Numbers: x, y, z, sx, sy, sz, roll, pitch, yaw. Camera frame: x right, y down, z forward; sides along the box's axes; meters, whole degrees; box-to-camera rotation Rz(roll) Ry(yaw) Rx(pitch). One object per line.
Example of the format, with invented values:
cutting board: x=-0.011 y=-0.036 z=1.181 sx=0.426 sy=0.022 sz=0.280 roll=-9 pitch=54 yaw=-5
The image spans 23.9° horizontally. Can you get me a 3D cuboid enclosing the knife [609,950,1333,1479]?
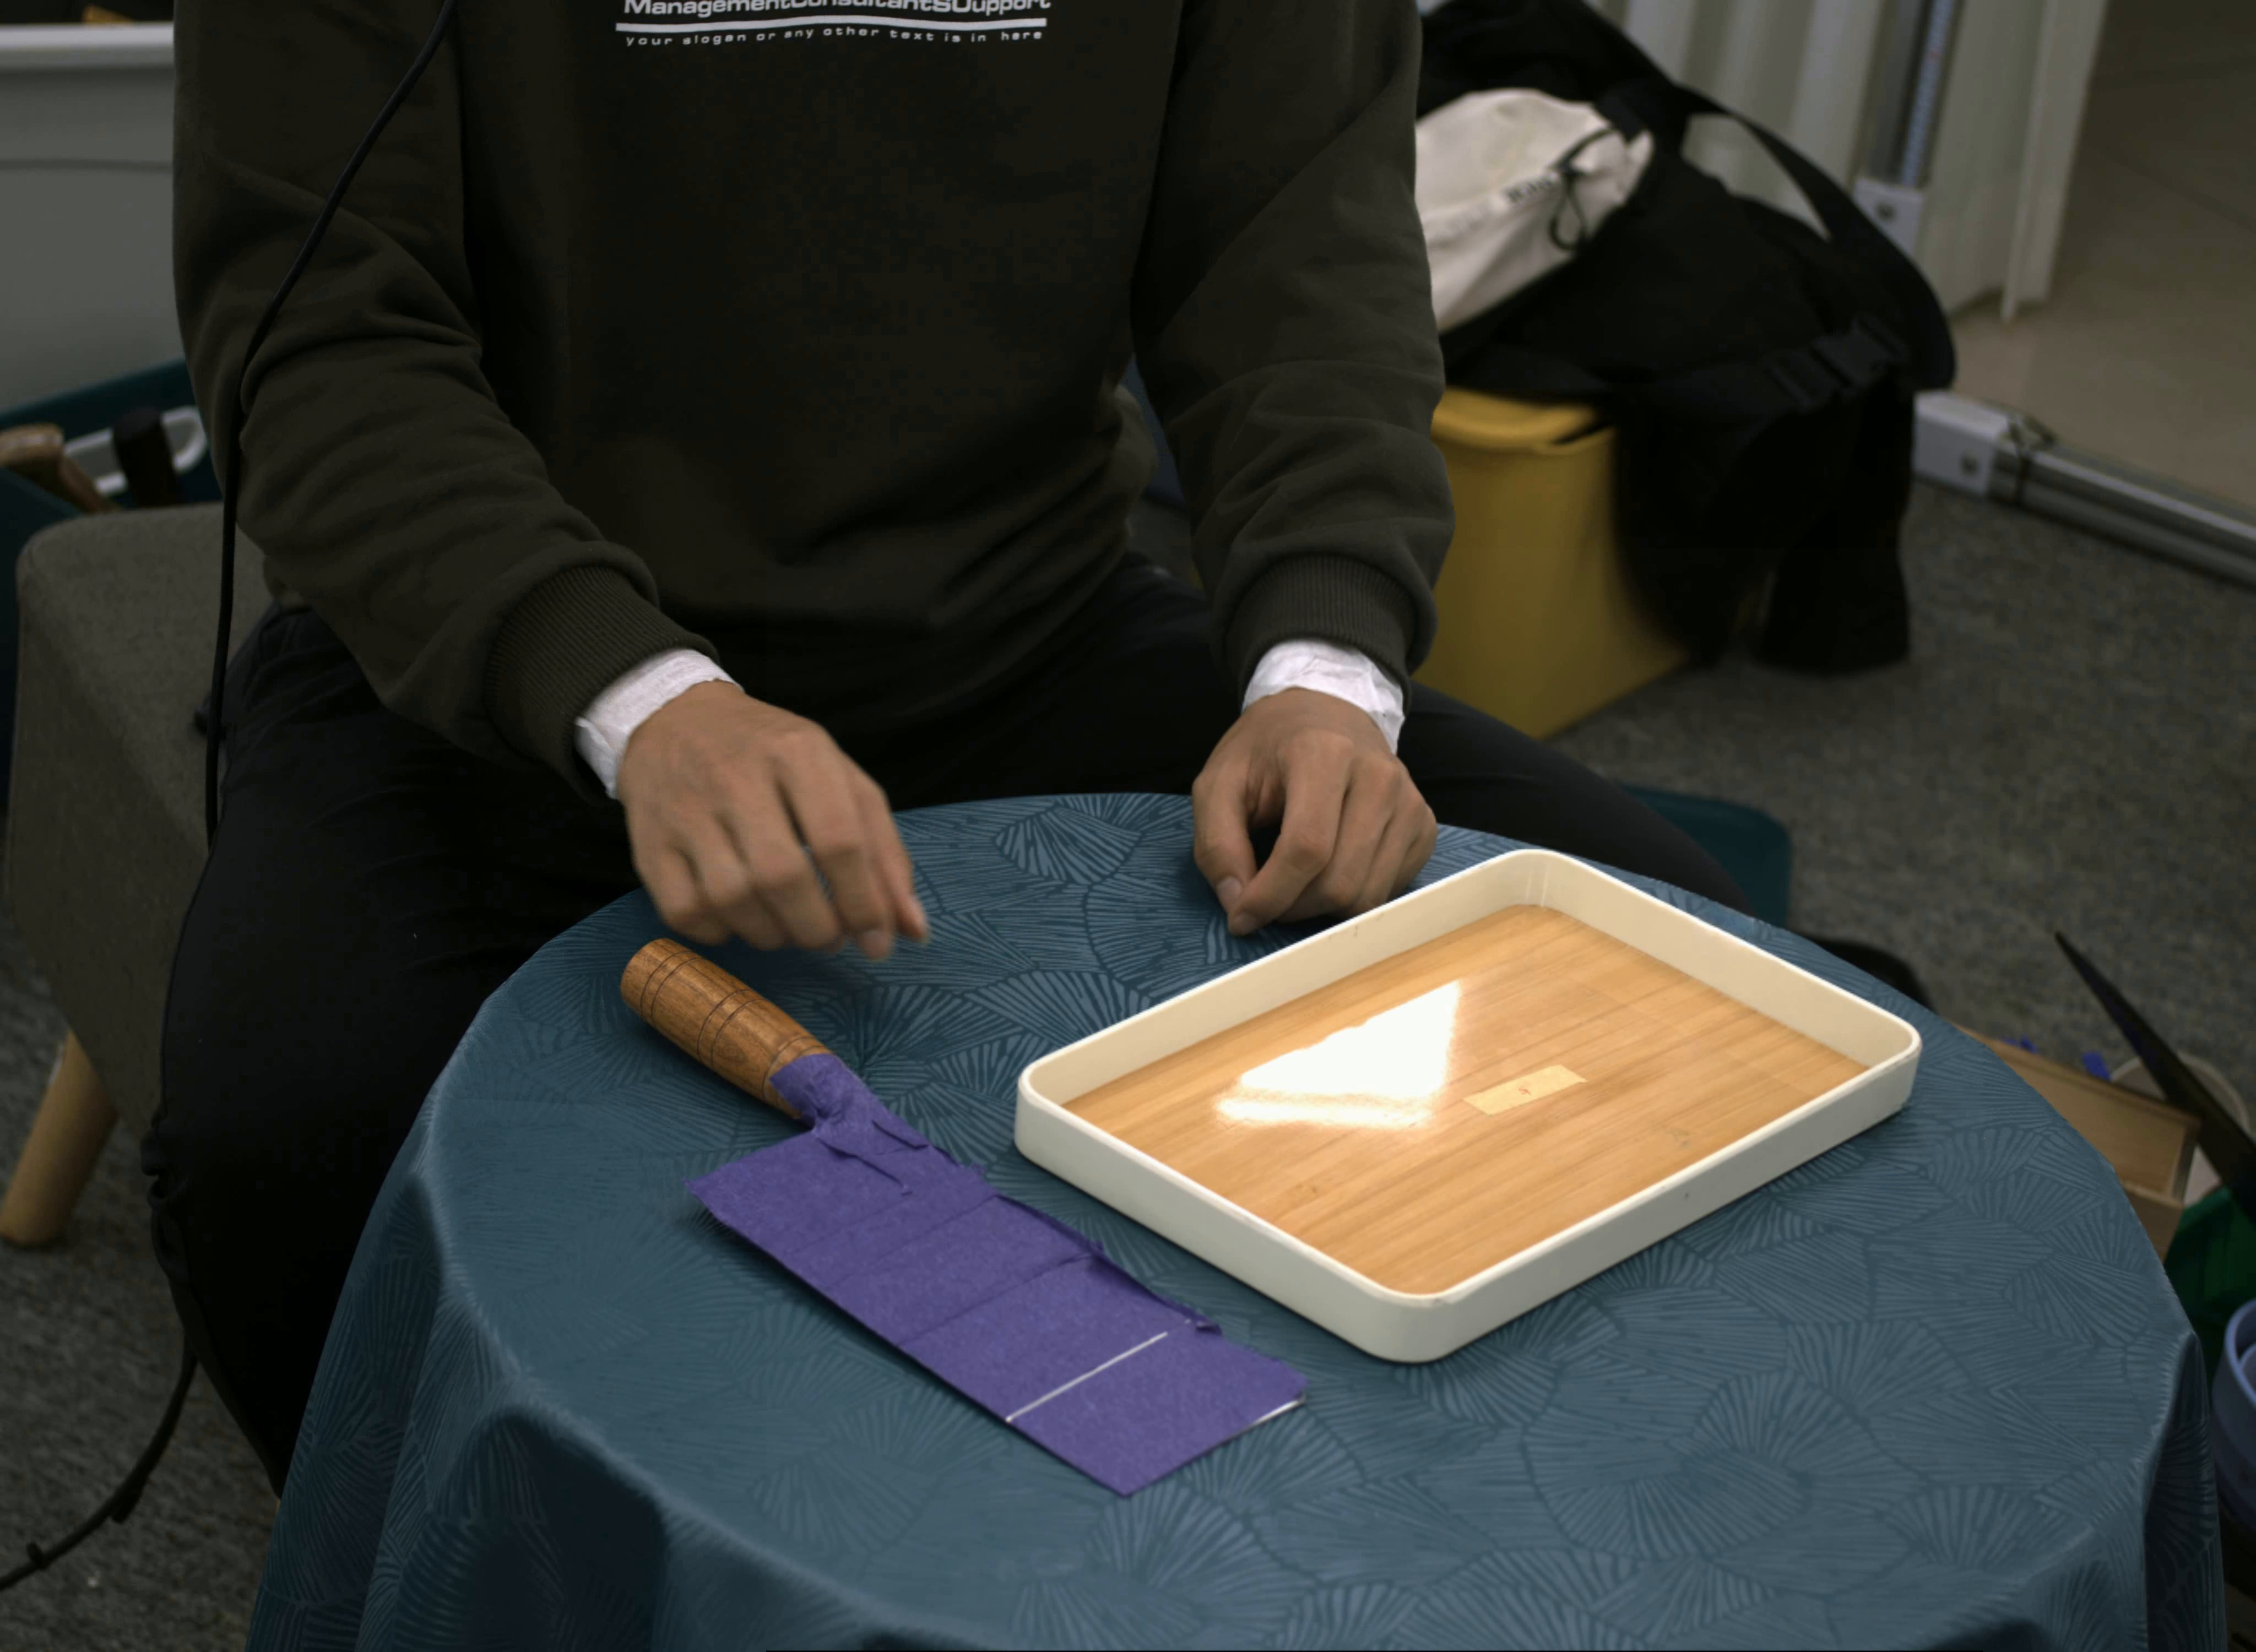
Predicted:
knife: x=-0.079 y=0.124 z=1.756 sx=0.317 sy=0.032 sz=0.103 roll=28 pitch=33 yaw=35

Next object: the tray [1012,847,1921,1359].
tray: x=0.122 y=0.091 z=1.867 sx=0.193 sy=0.027 sz=0.299 roll=27 pitch=33 yaw=35
